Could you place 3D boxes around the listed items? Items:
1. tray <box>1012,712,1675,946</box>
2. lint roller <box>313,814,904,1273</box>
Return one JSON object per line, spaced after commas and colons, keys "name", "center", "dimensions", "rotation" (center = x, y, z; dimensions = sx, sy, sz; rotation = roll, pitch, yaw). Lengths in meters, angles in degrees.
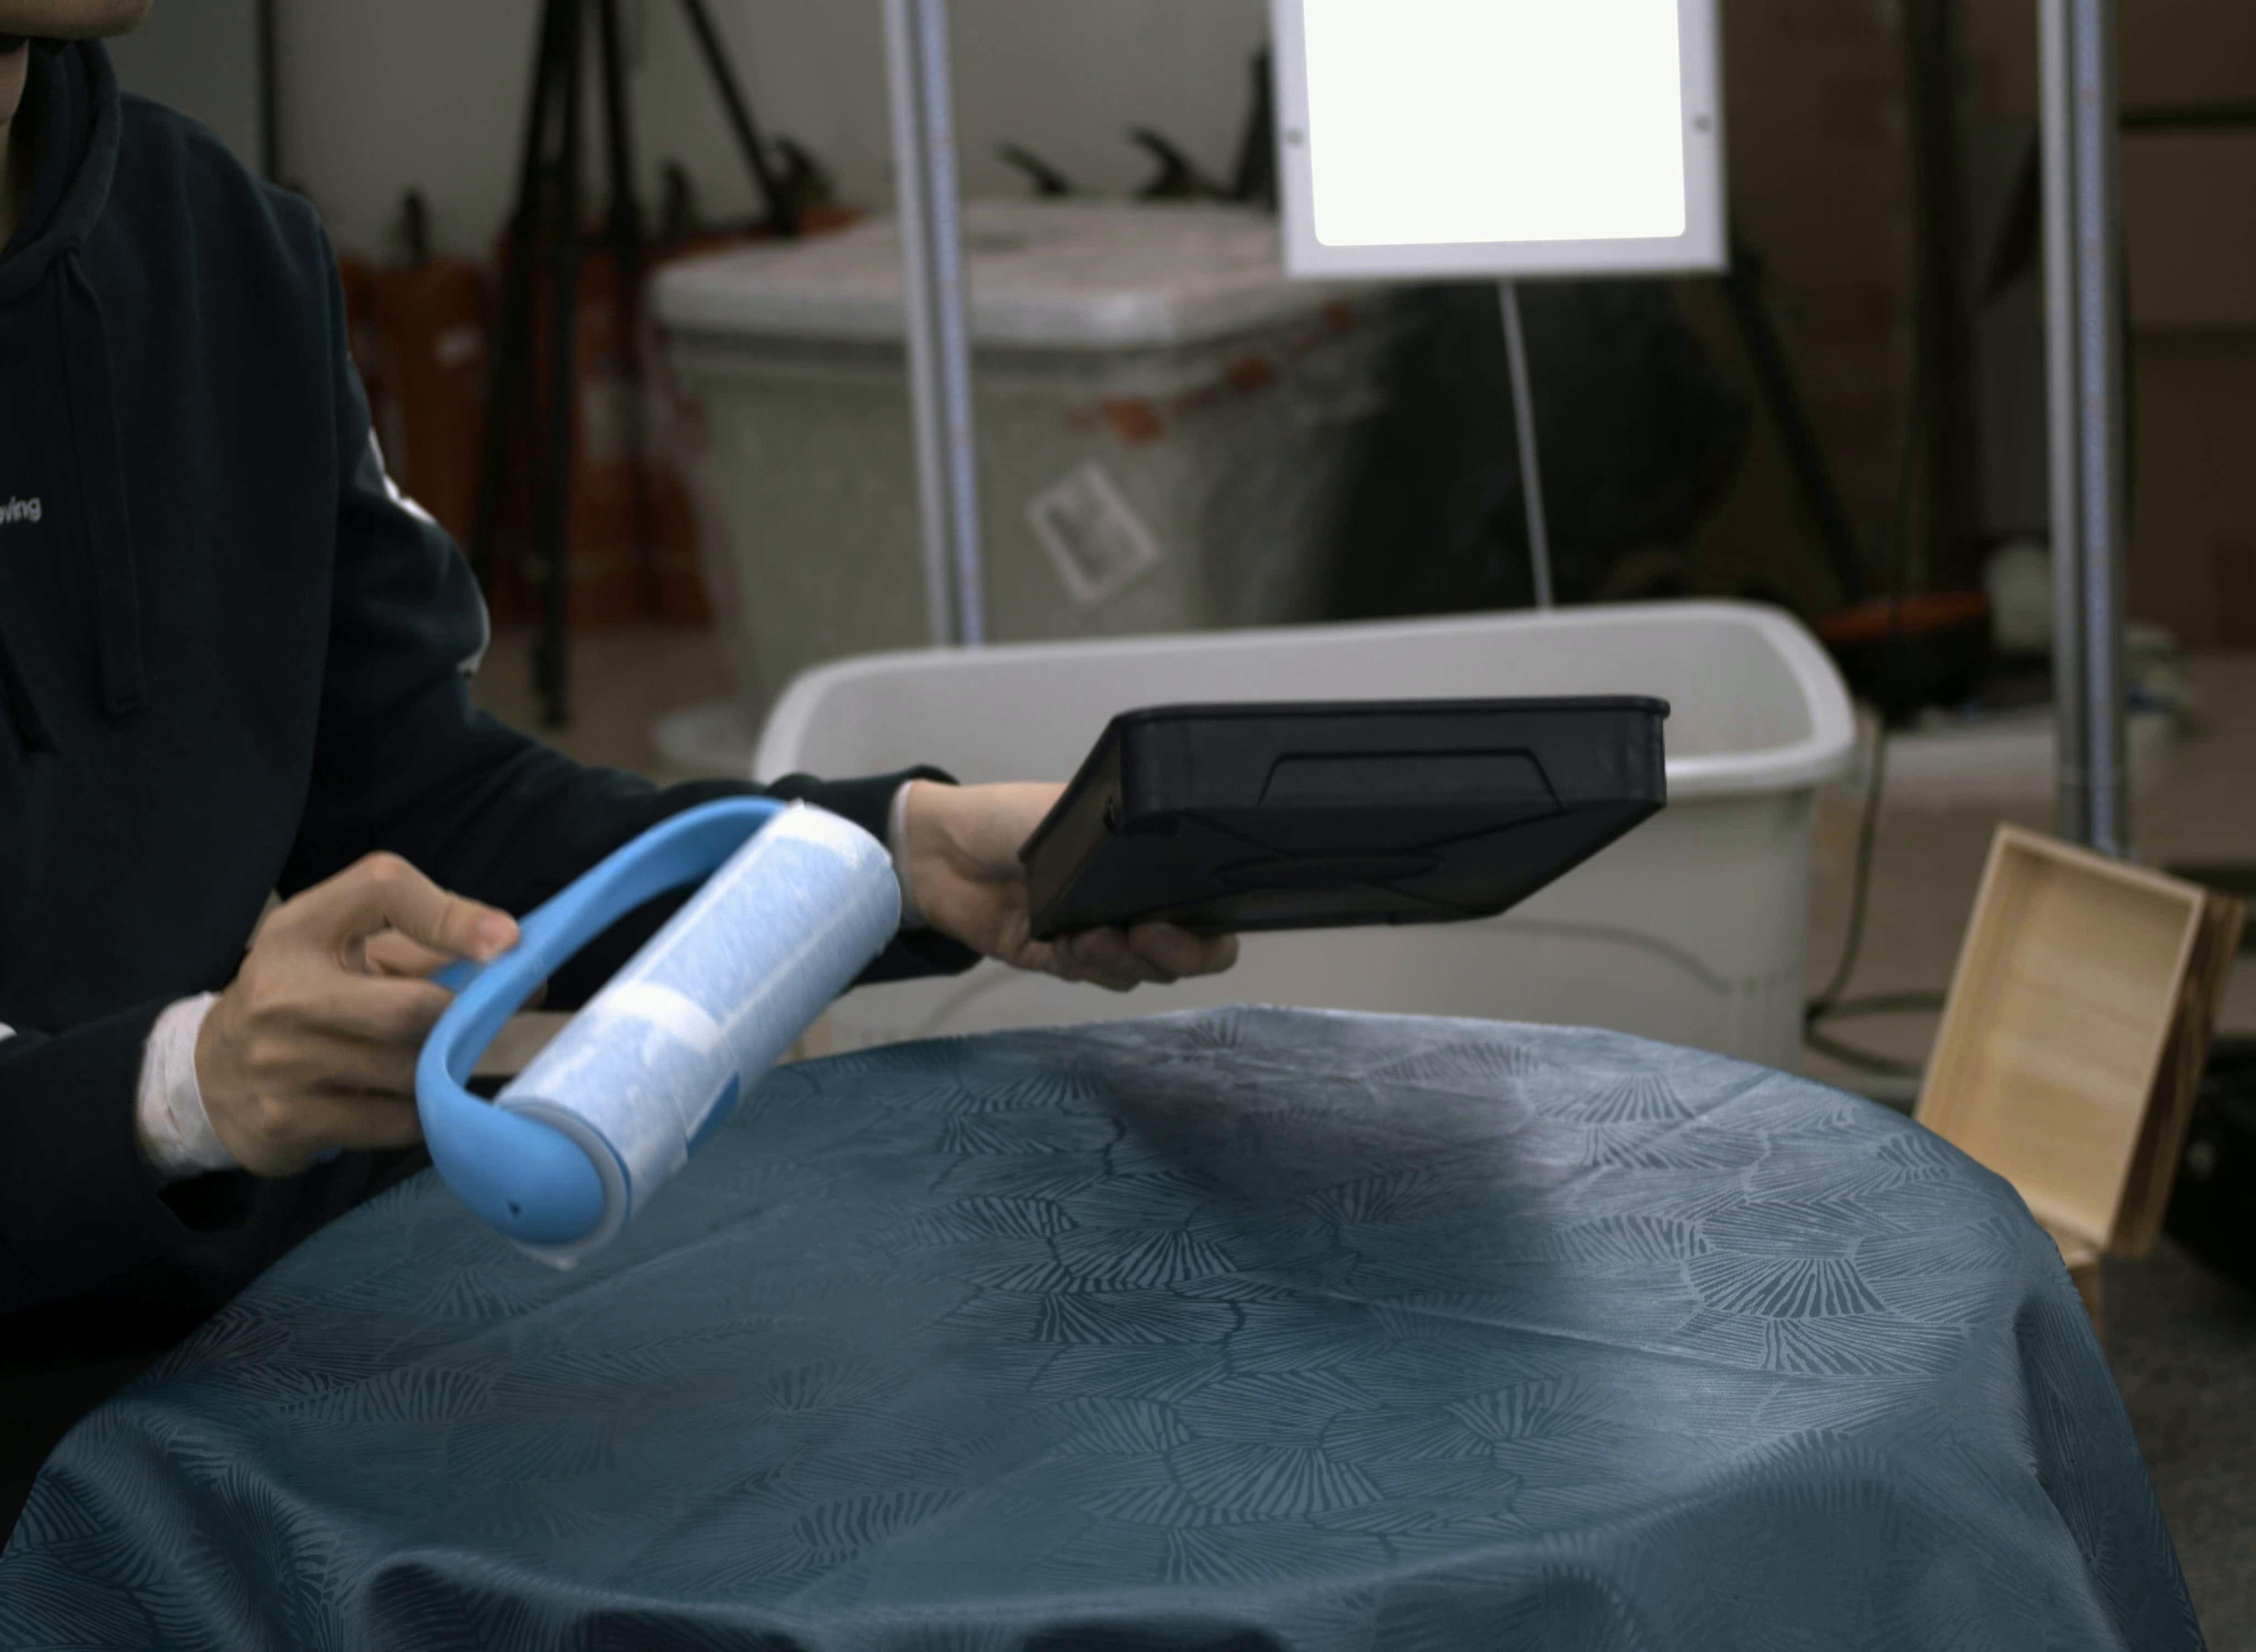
{"name": "tray", "center": [0.068, 0.003, 1.900], "dimensions": [0.182, 0.037, 0.320], "rotation": [-3, -7, -8]}
{"name": "lint roller", "center": [-0.182, 0.071, 1.680], "dimensions": [0.183, 0.068, 0.225], "rotation": [-10, 23, 26]}
